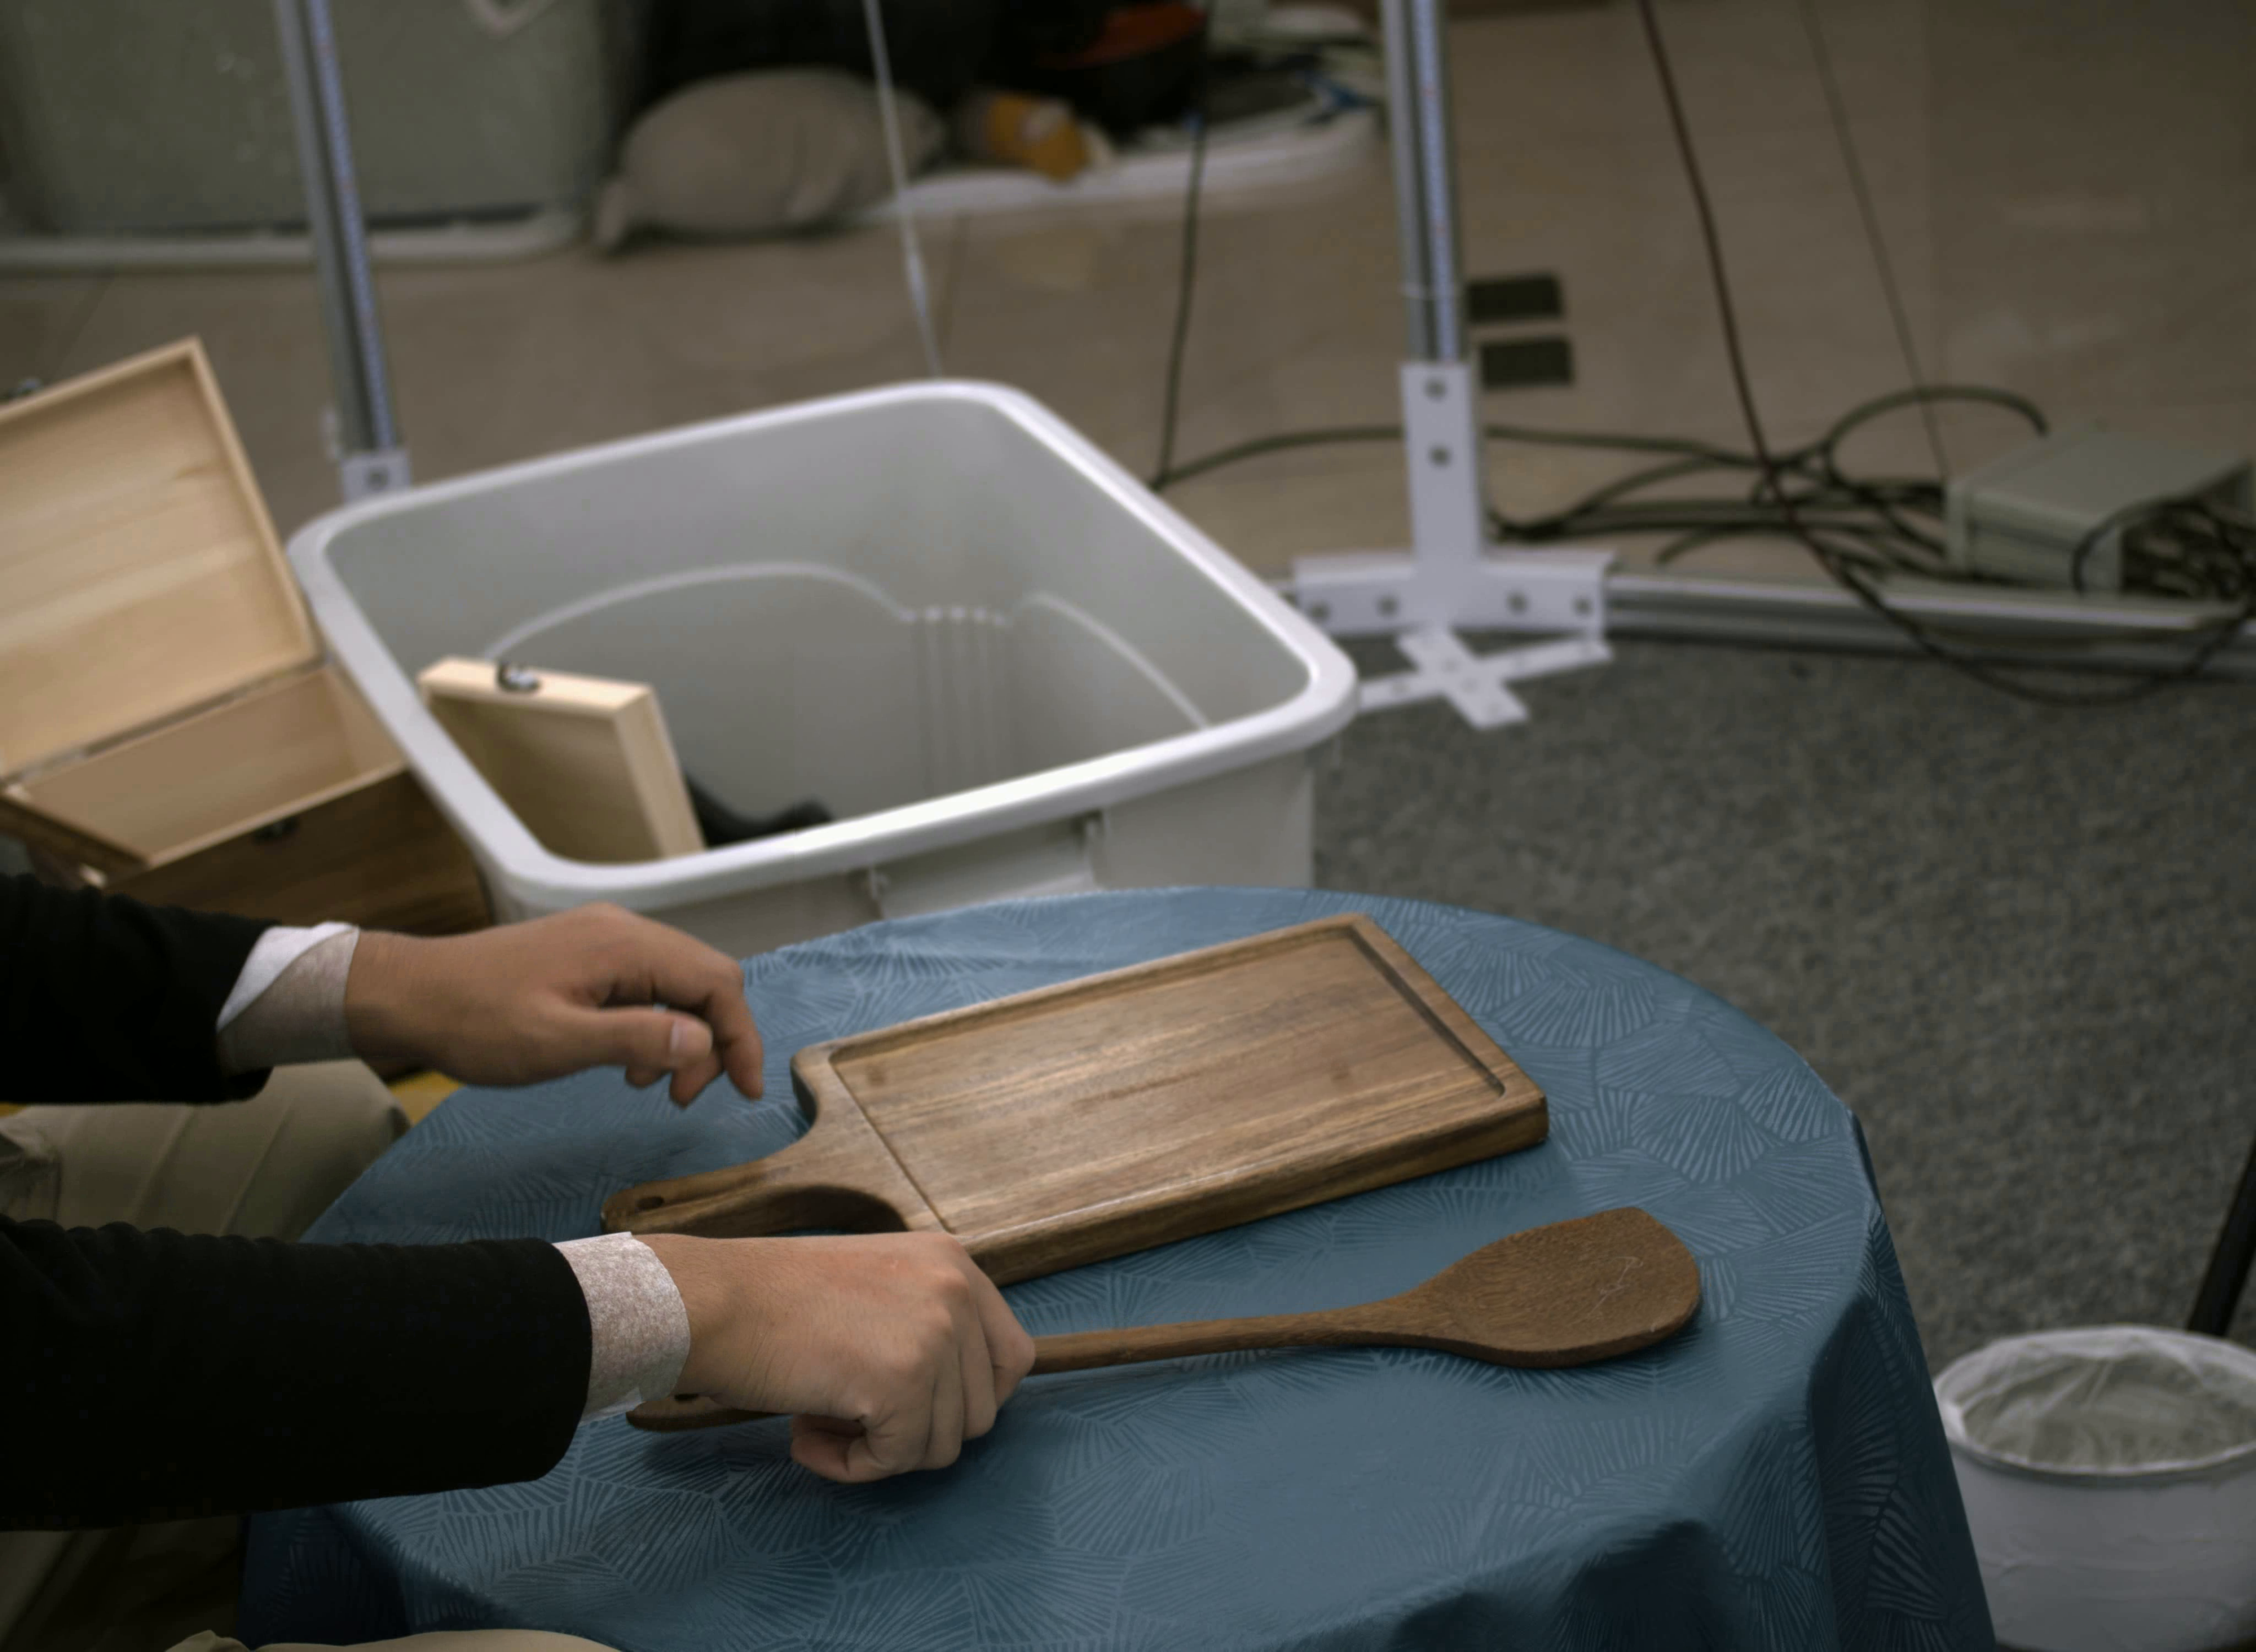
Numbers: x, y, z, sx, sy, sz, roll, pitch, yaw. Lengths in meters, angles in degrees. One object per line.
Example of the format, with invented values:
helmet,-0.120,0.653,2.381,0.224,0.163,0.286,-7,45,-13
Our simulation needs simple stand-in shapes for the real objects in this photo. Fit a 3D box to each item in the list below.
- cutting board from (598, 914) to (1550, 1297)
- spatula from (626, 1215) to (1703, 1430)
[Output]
cutting board,-0.034,0.115,2.183,0.351,0.023,0.198,-14,26,-15
spatula,0.013,0.183,2.021,0.385,0.016,0.095,-6,24,-5
